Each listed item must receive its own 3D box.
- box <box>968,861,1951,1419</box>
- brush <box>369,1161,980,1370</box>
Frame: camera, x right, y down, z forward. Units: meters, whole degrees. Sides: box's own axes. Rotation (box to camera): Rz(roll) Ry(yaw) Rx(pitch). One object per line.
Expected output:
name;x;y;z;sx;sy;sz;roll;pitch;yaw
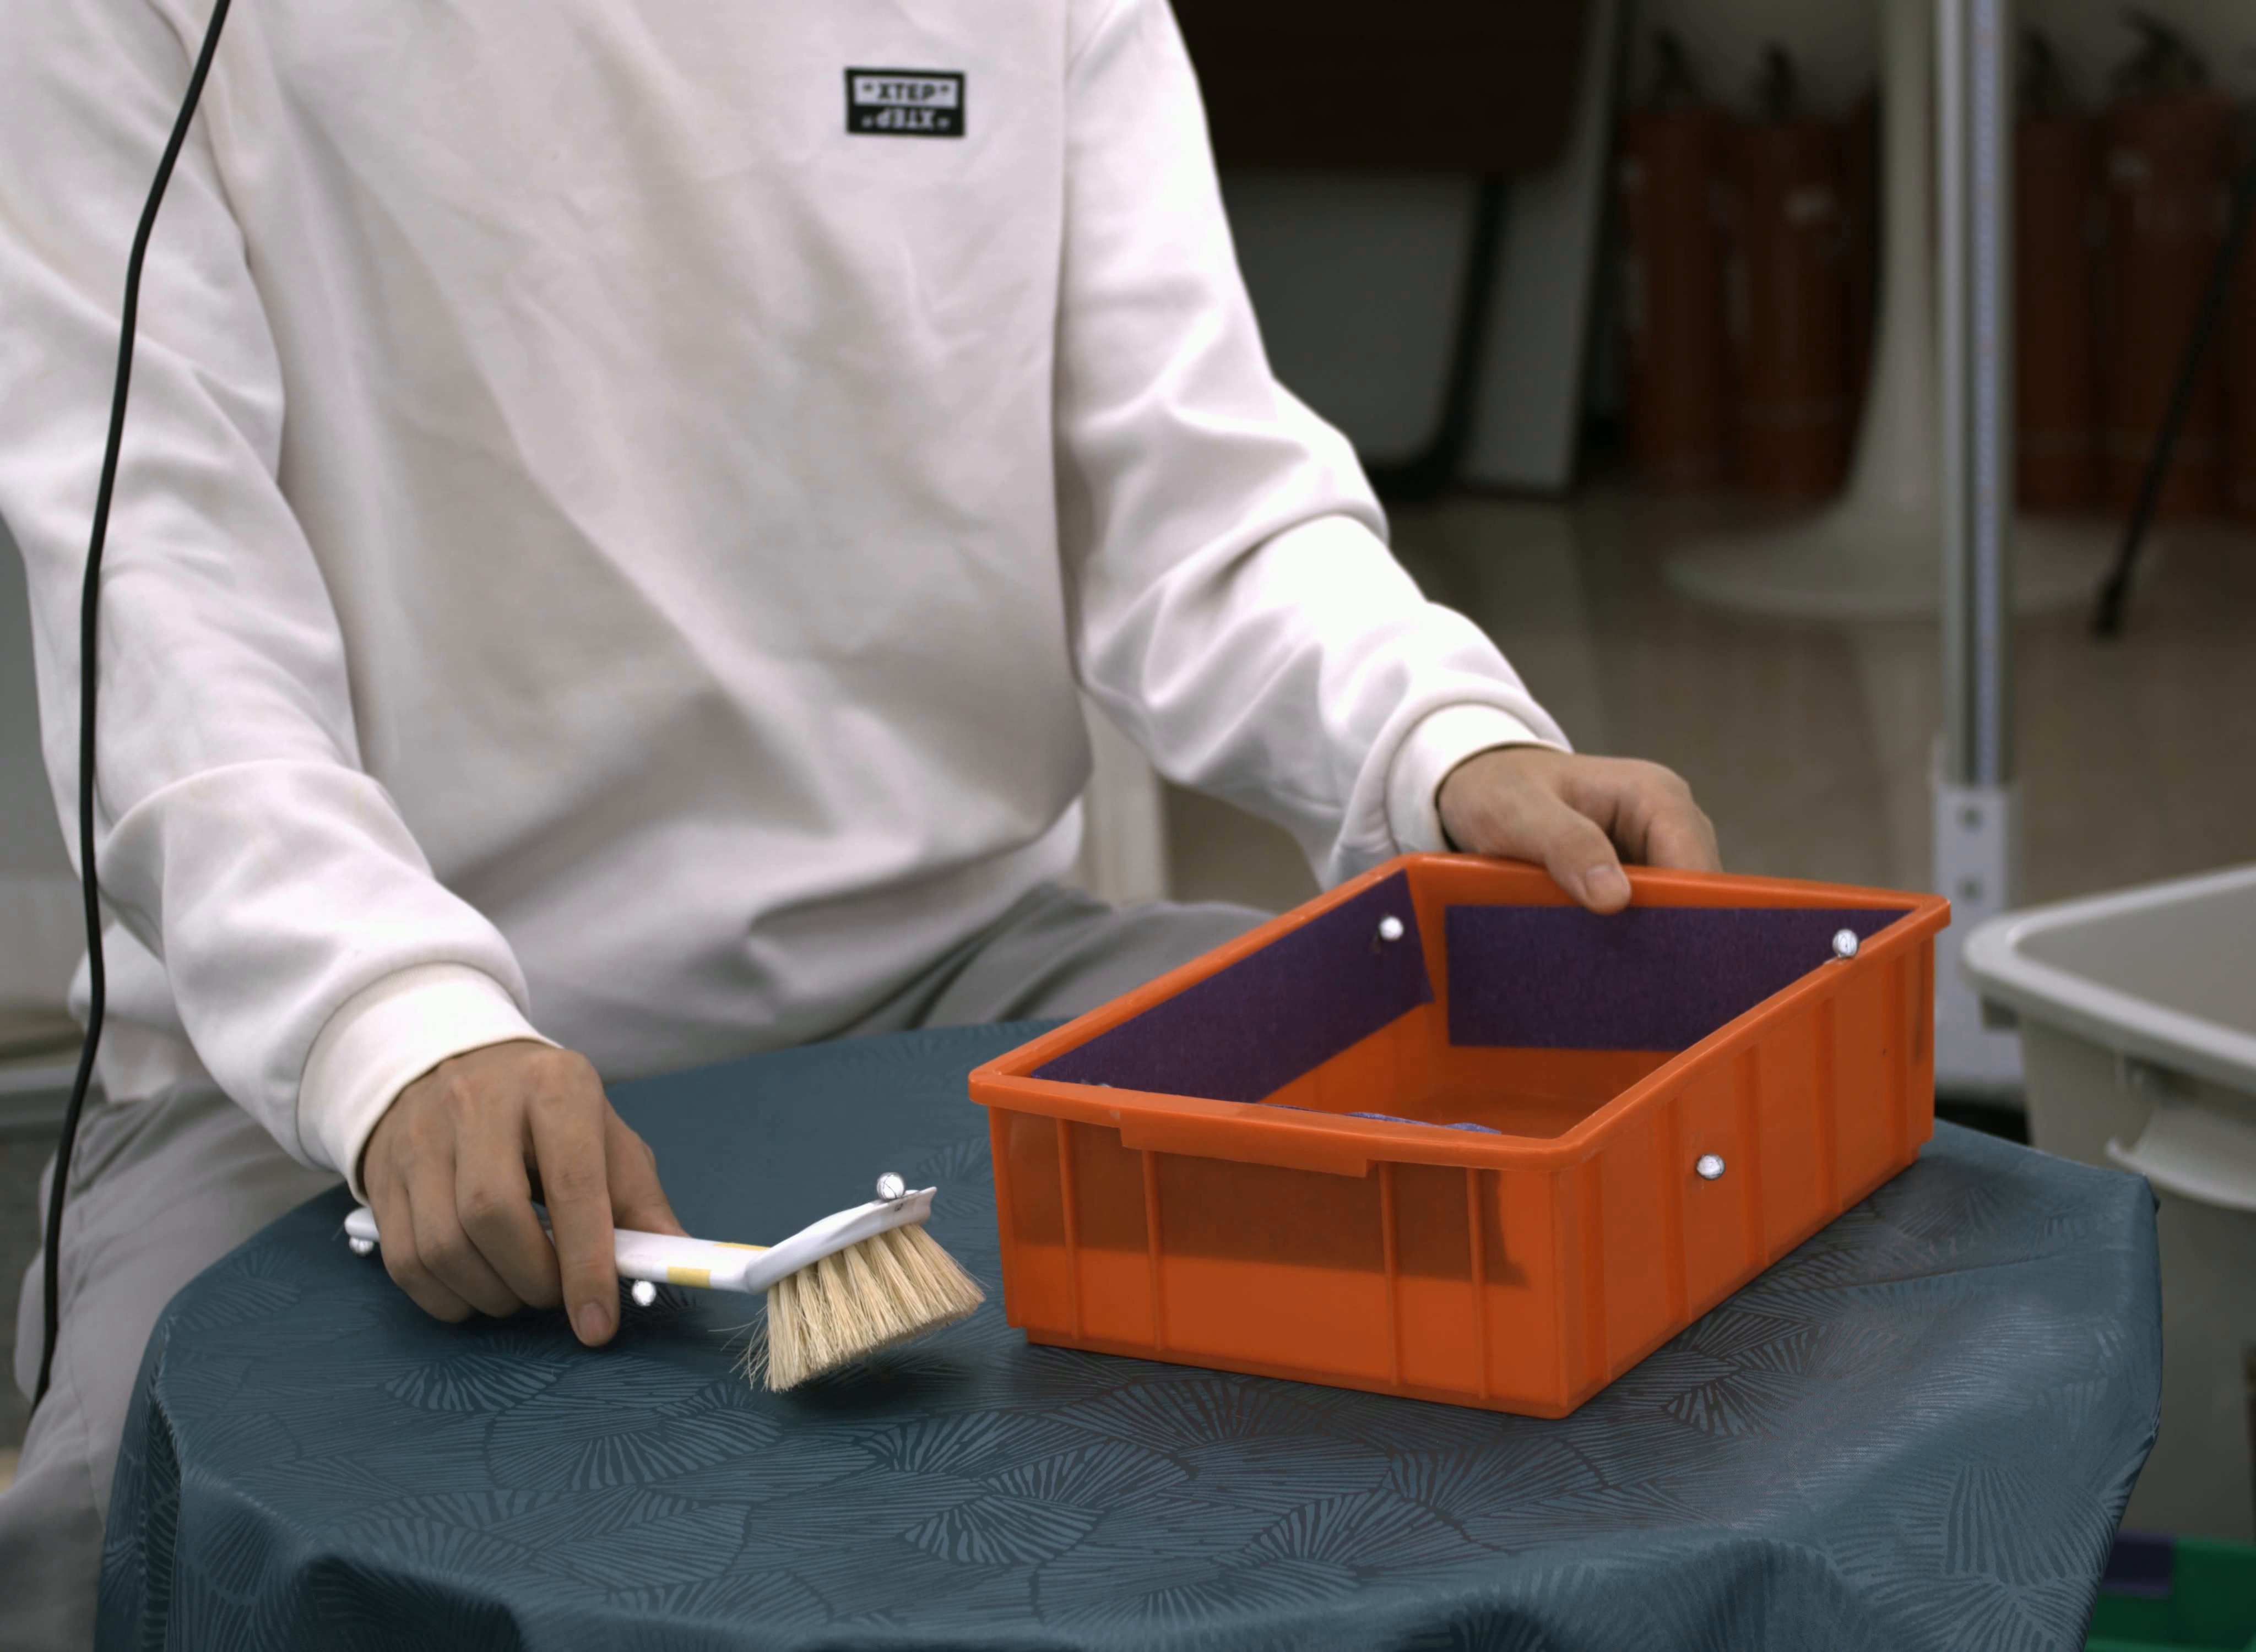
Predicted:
box;0.111;0.093;1.681;0.207;0.097;0.298;4;13;32
brush;-0.147;0.147;1.675;0.067;0.057;0.269;3;-11;-44
